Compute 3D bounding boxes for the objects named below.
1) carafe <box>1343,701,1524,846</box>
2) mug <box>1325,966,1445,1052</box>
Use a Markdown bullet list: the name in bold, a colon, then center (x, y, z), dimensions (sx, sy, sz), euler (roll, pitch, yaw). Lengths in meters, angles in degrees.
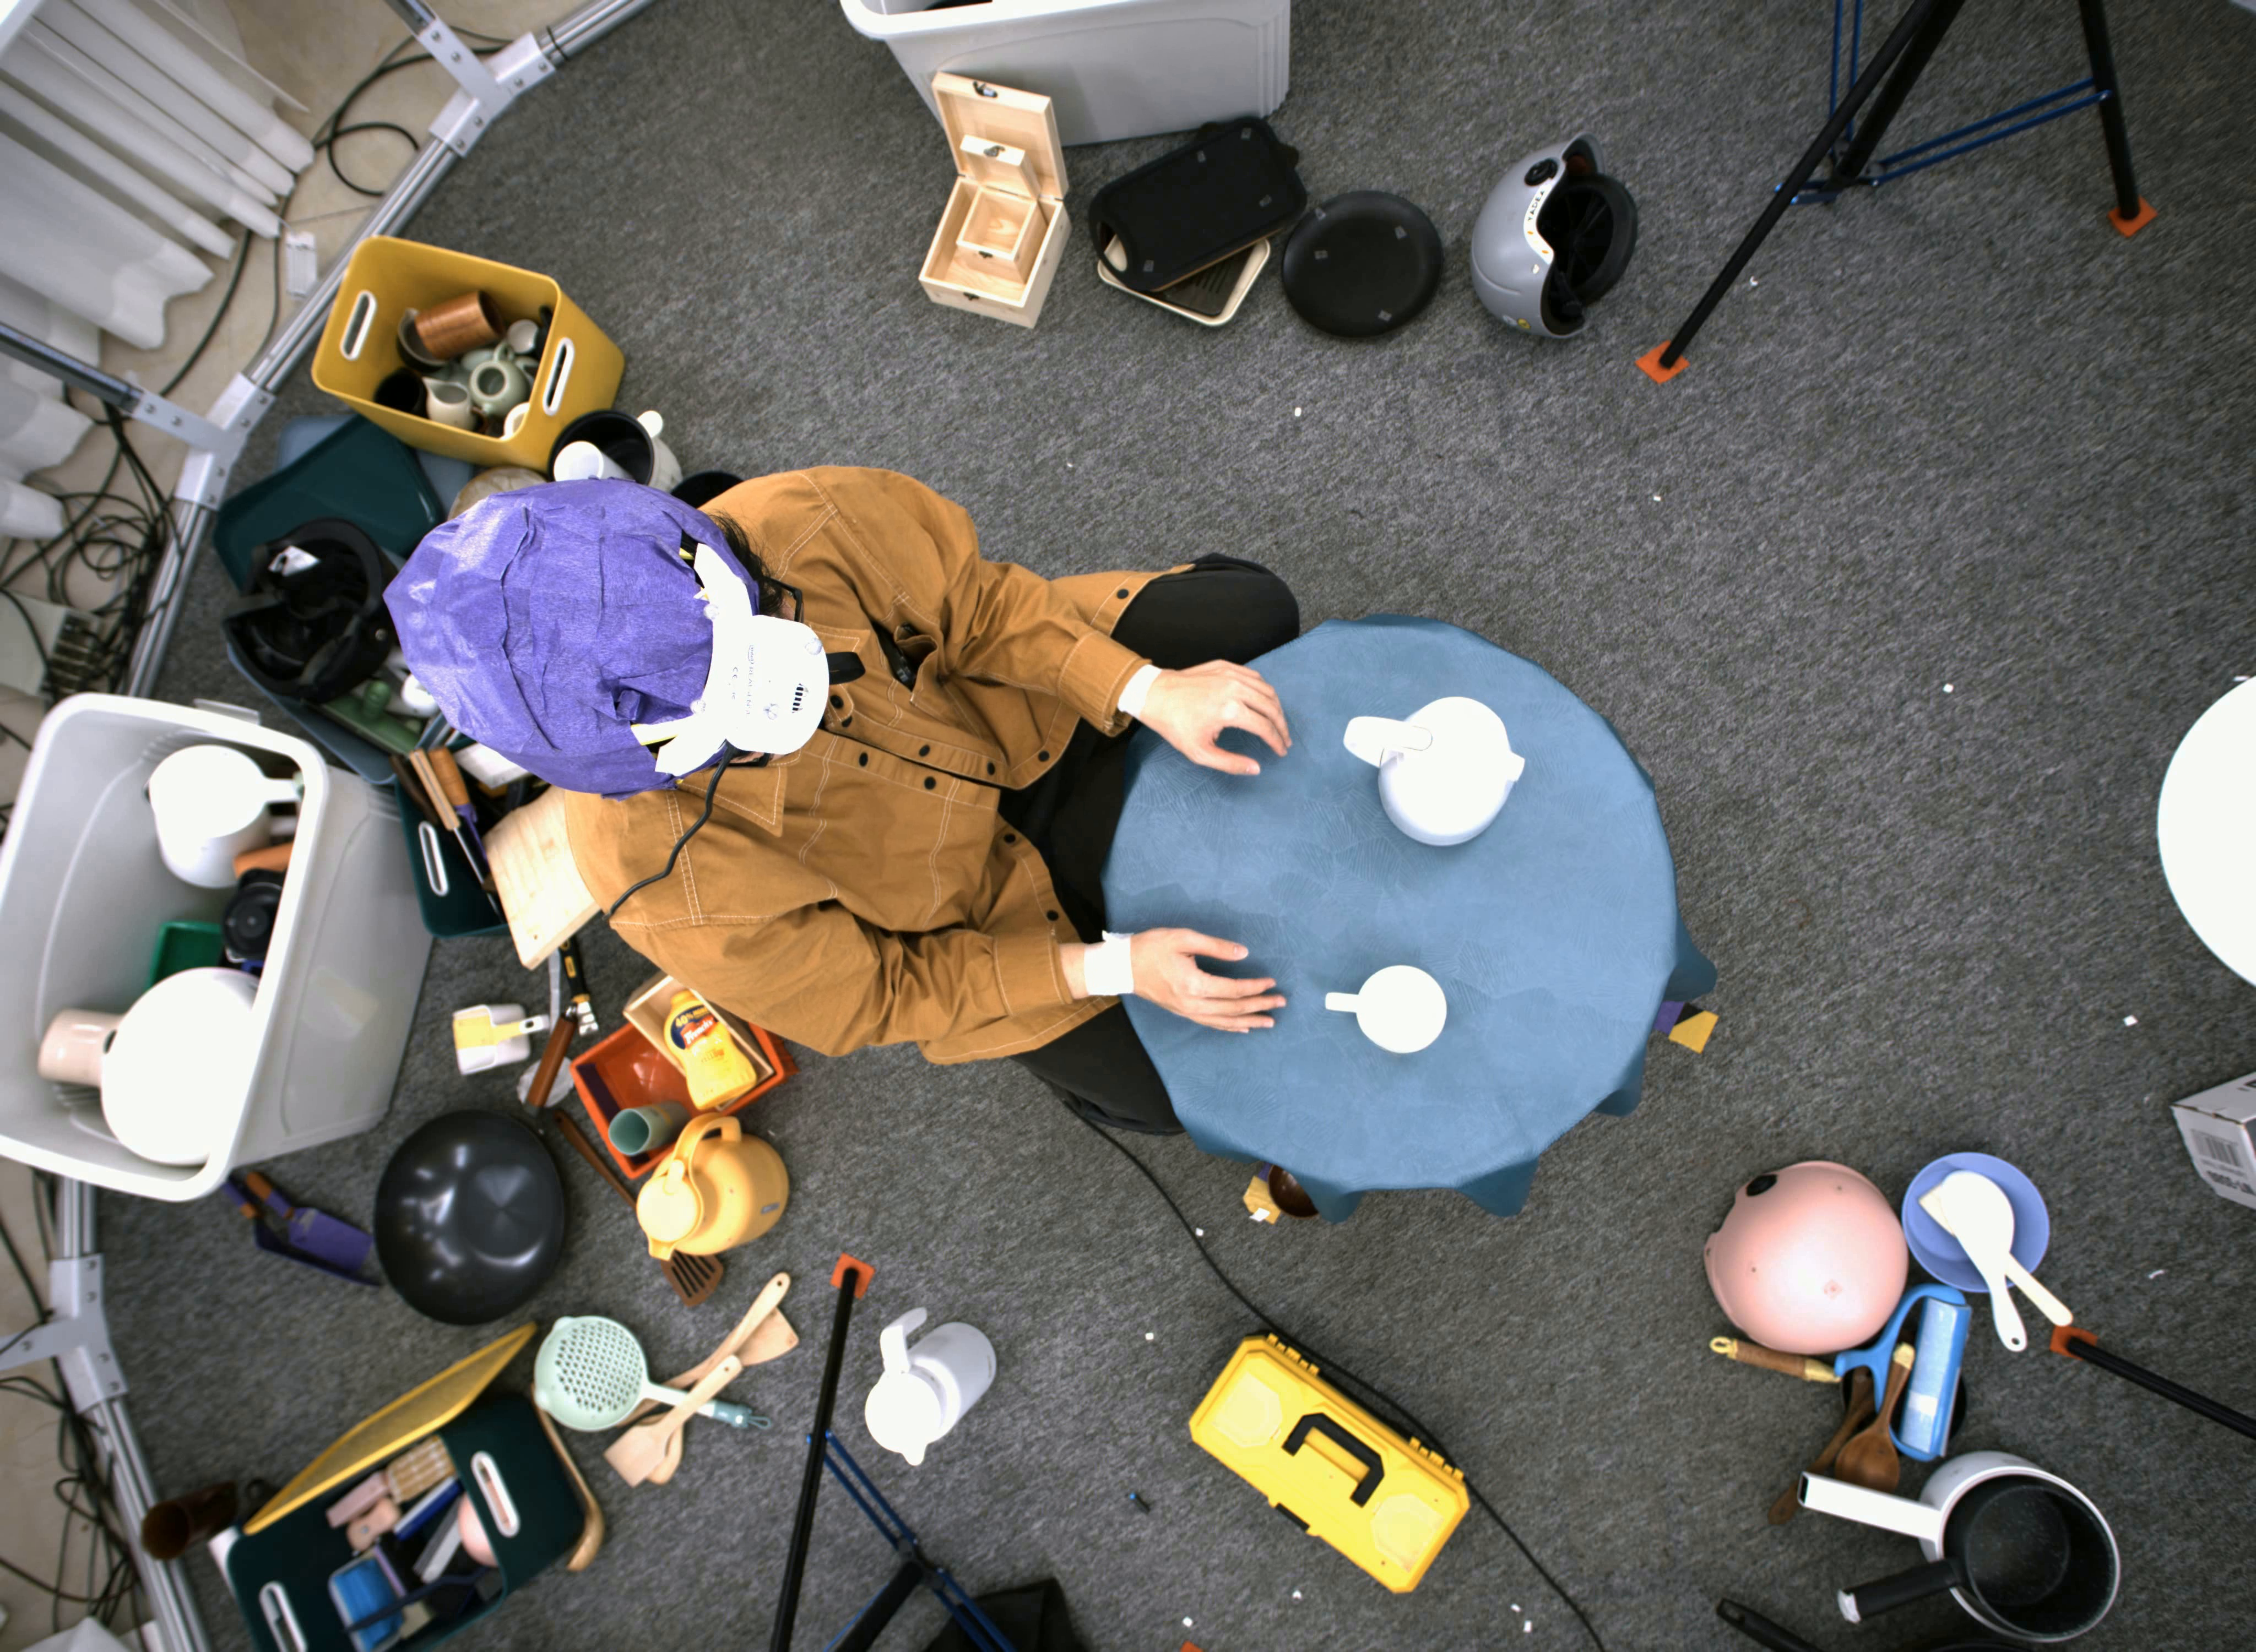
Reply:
- **carafe**: center (0.292, -0.062, 1.337), dimensions (0.168, 0.248, 0.132), euler (16, 89, 12)
- **mug**: center (0.261, 0.182, 1.406), dimensions (0.118, 0.102, 0.084), euler (4, 85, 11)
